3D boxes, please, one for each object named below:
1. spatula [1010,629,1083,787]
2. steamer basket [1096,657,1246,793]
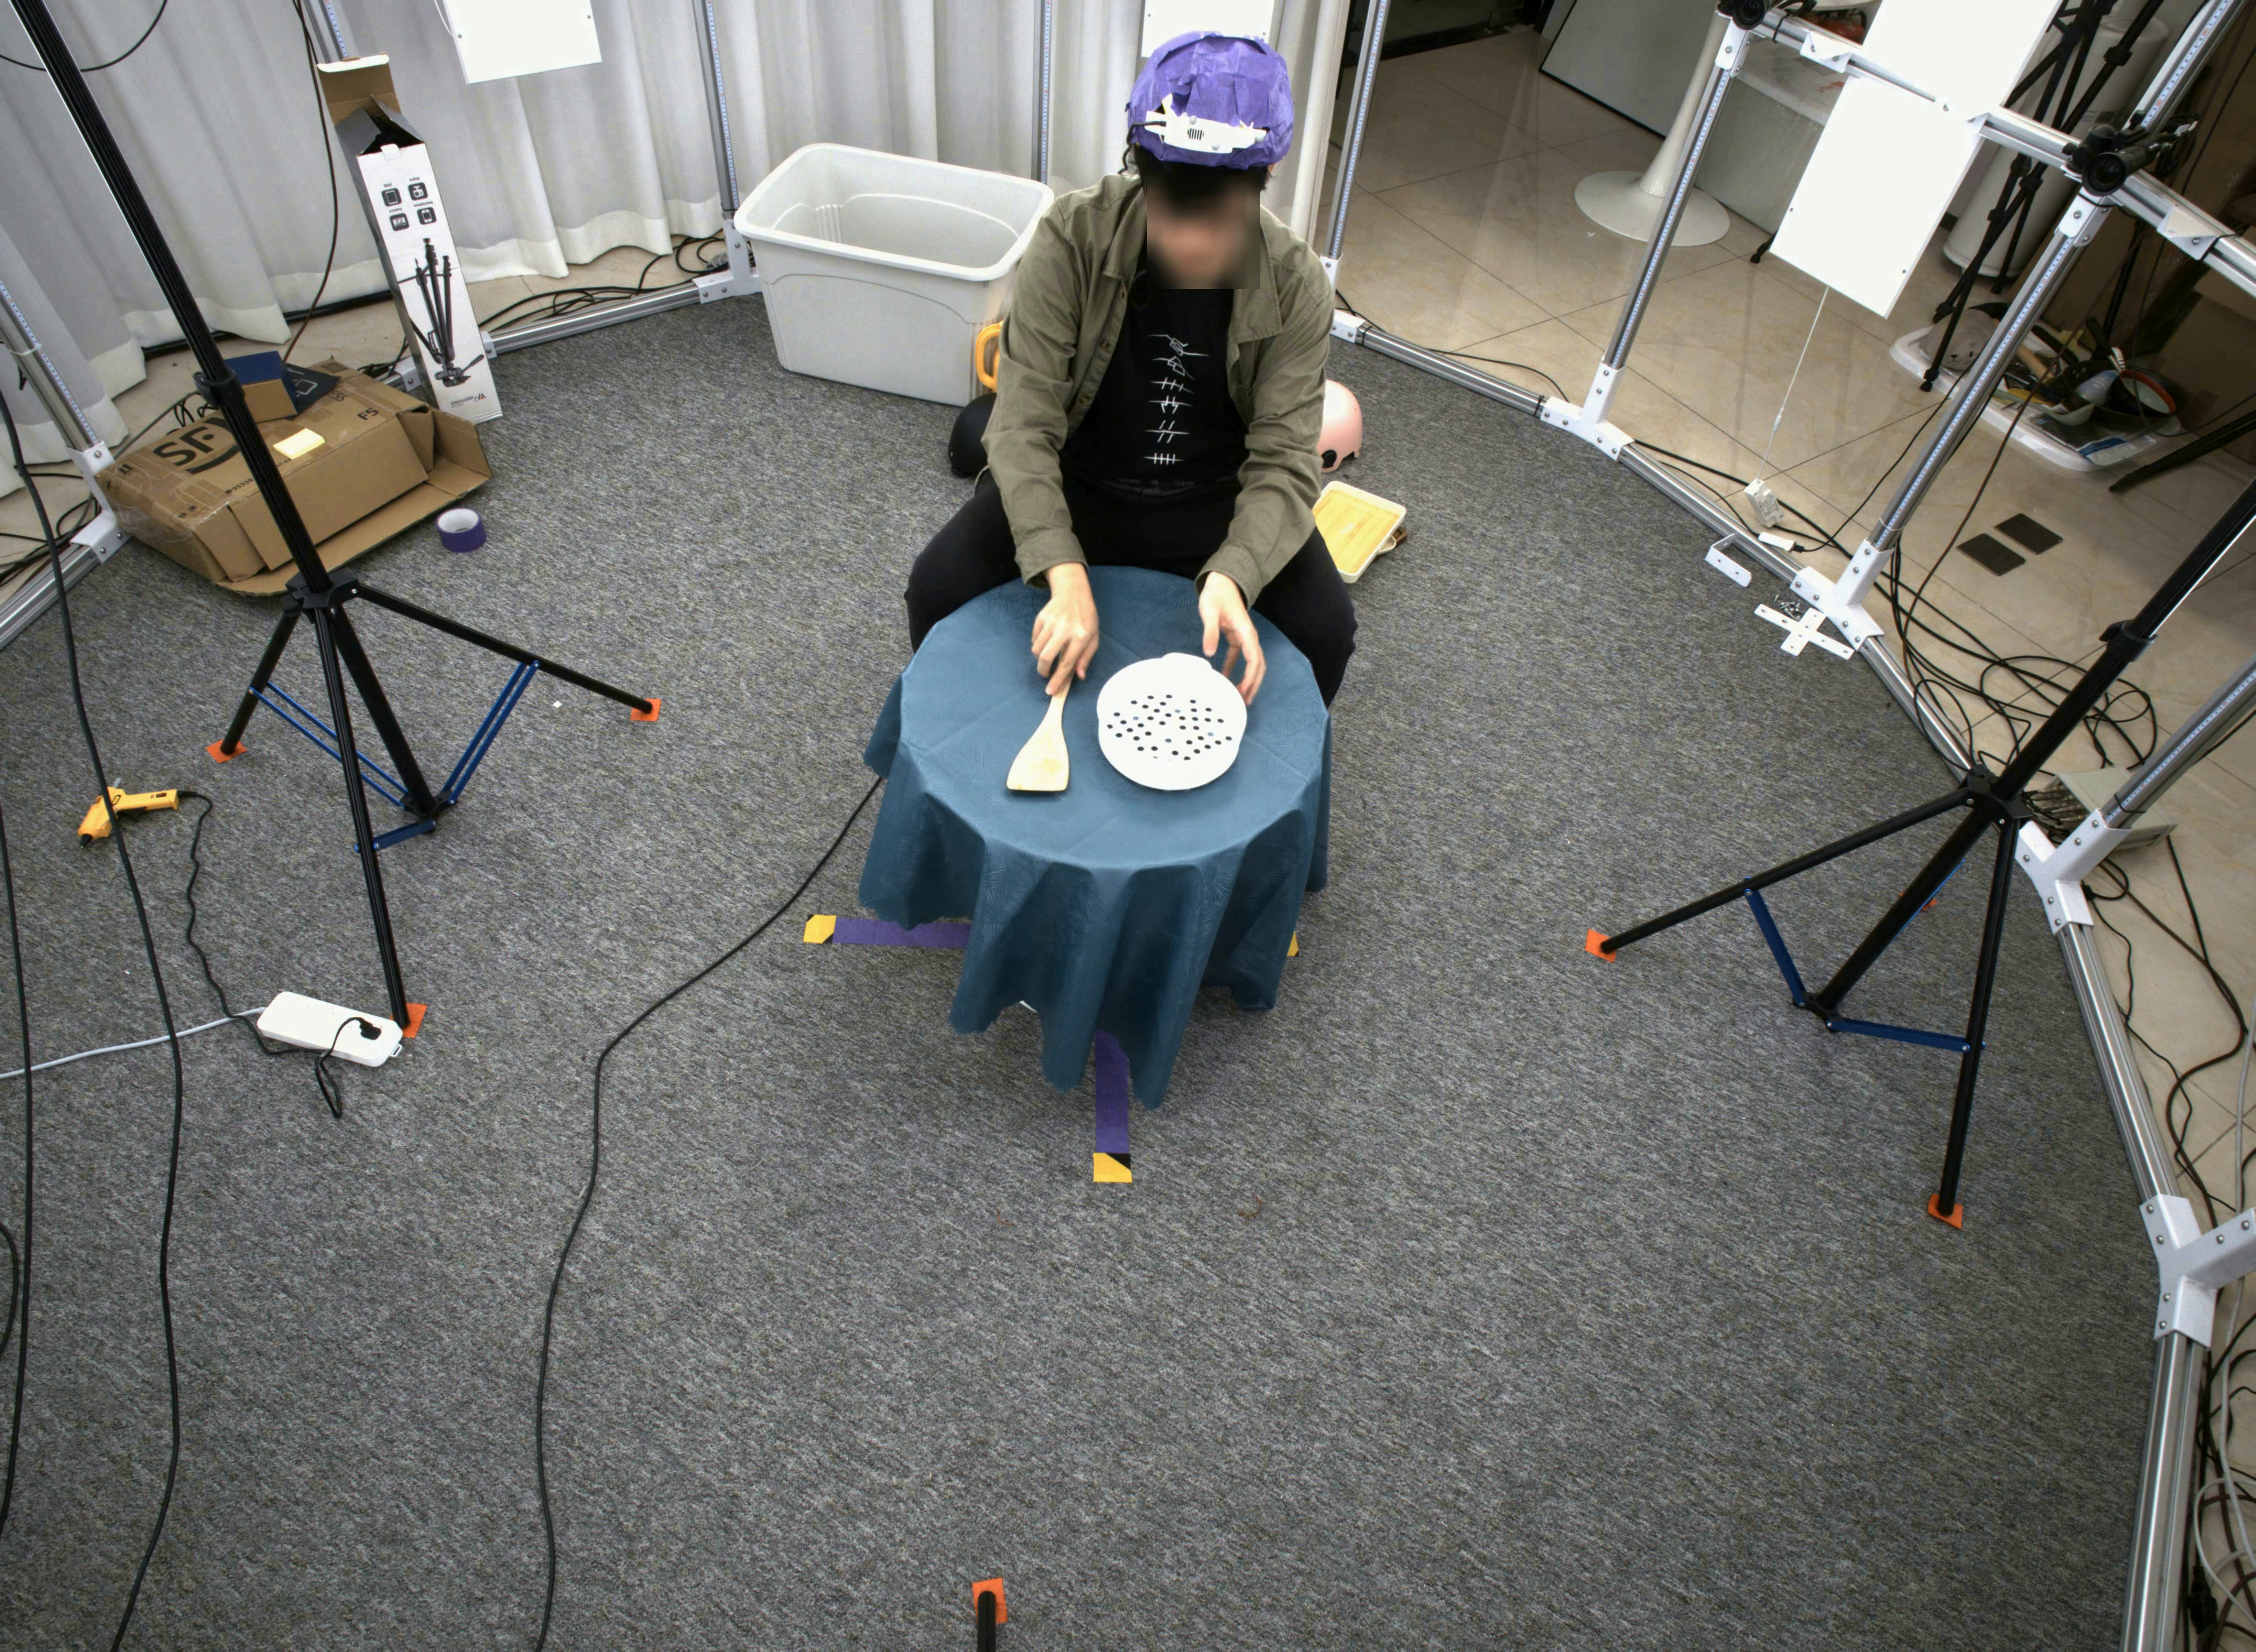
[{"bbox_3d":[-0.097,-0.169,1.786,0.080,0.016,0.335,8,49,2],"label":"spatula"},{"bbox_3d":[0.056,-0.133,1.738,0.202,0.067,0.236,13,47,6],"label":"steamer basket"}]
